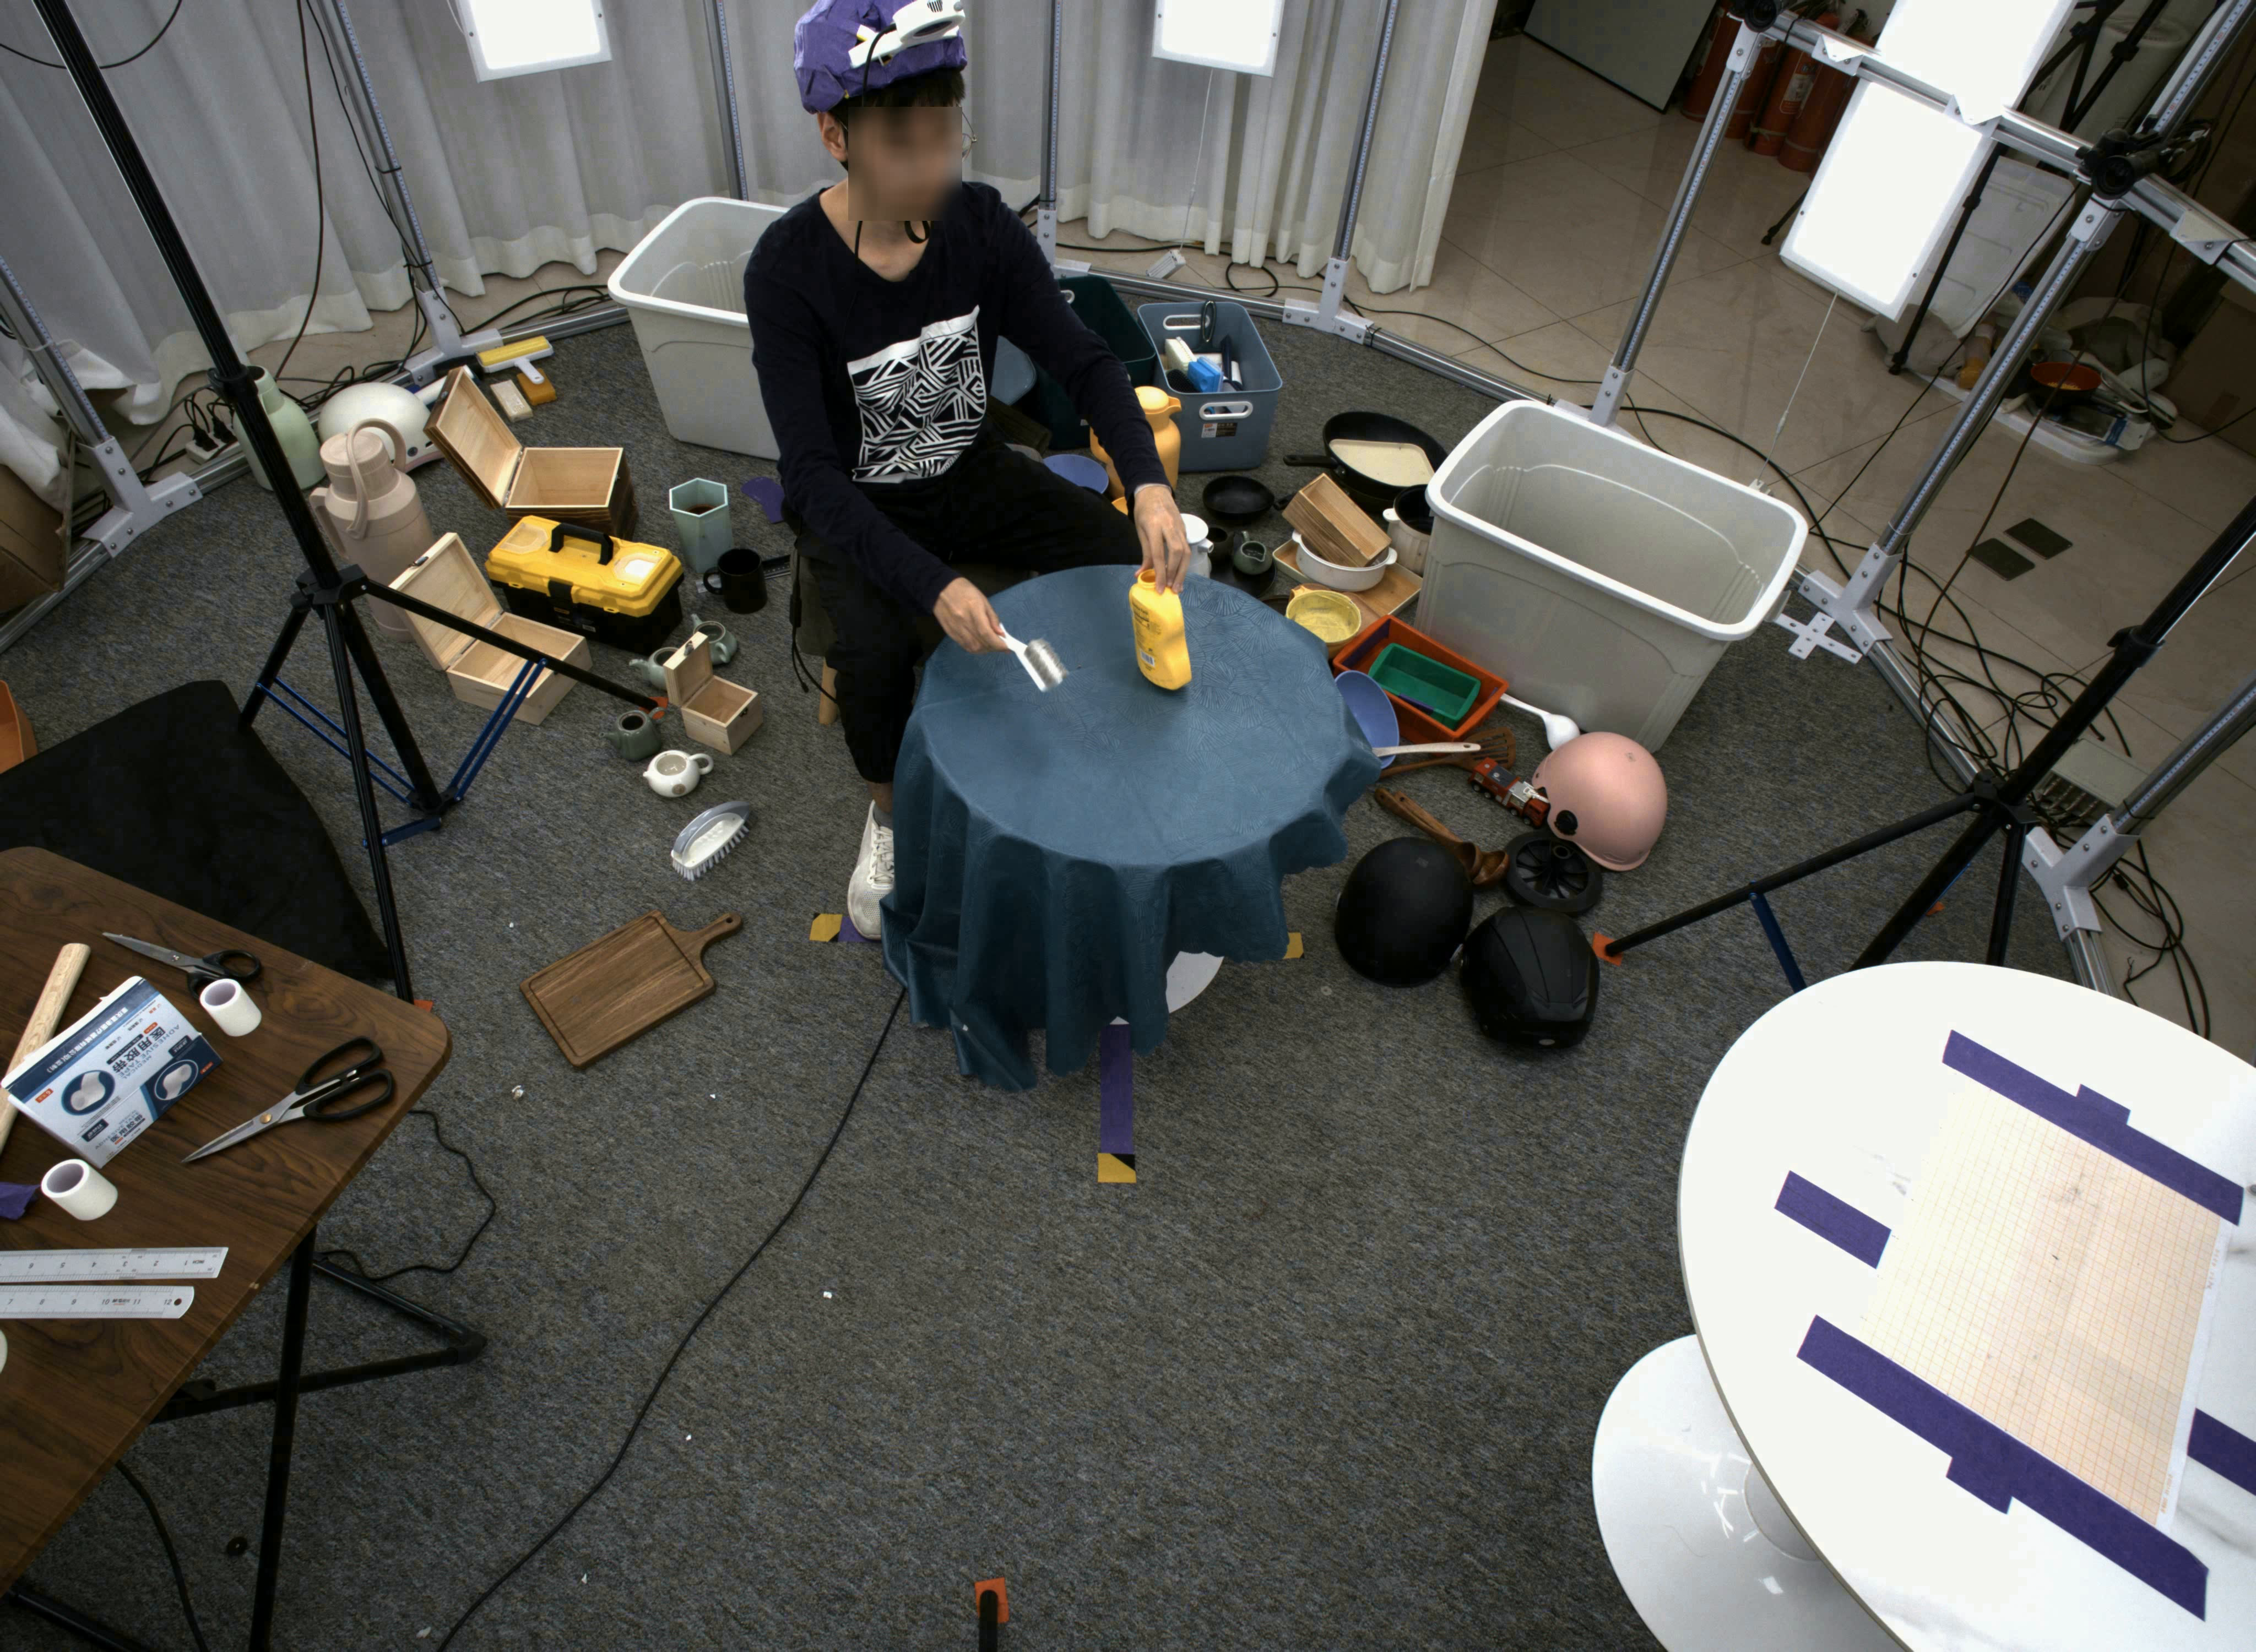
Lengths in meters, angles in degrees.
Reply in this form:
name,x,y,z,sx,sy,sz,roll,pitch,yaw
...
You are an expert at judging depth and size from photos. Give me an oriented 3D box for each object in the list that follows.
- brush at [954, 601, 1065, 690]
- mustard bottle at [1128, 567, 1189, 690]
name,x,y,z,sx,sy,sz,roll,pitch,yaw
brush,-0.166,-0.266,1.768,0.034,0.049,0.248,-11,42,-38
mustard bottle,0.040,-0.281,1.795,0.060,0.168,0.100,-33,47,-25
